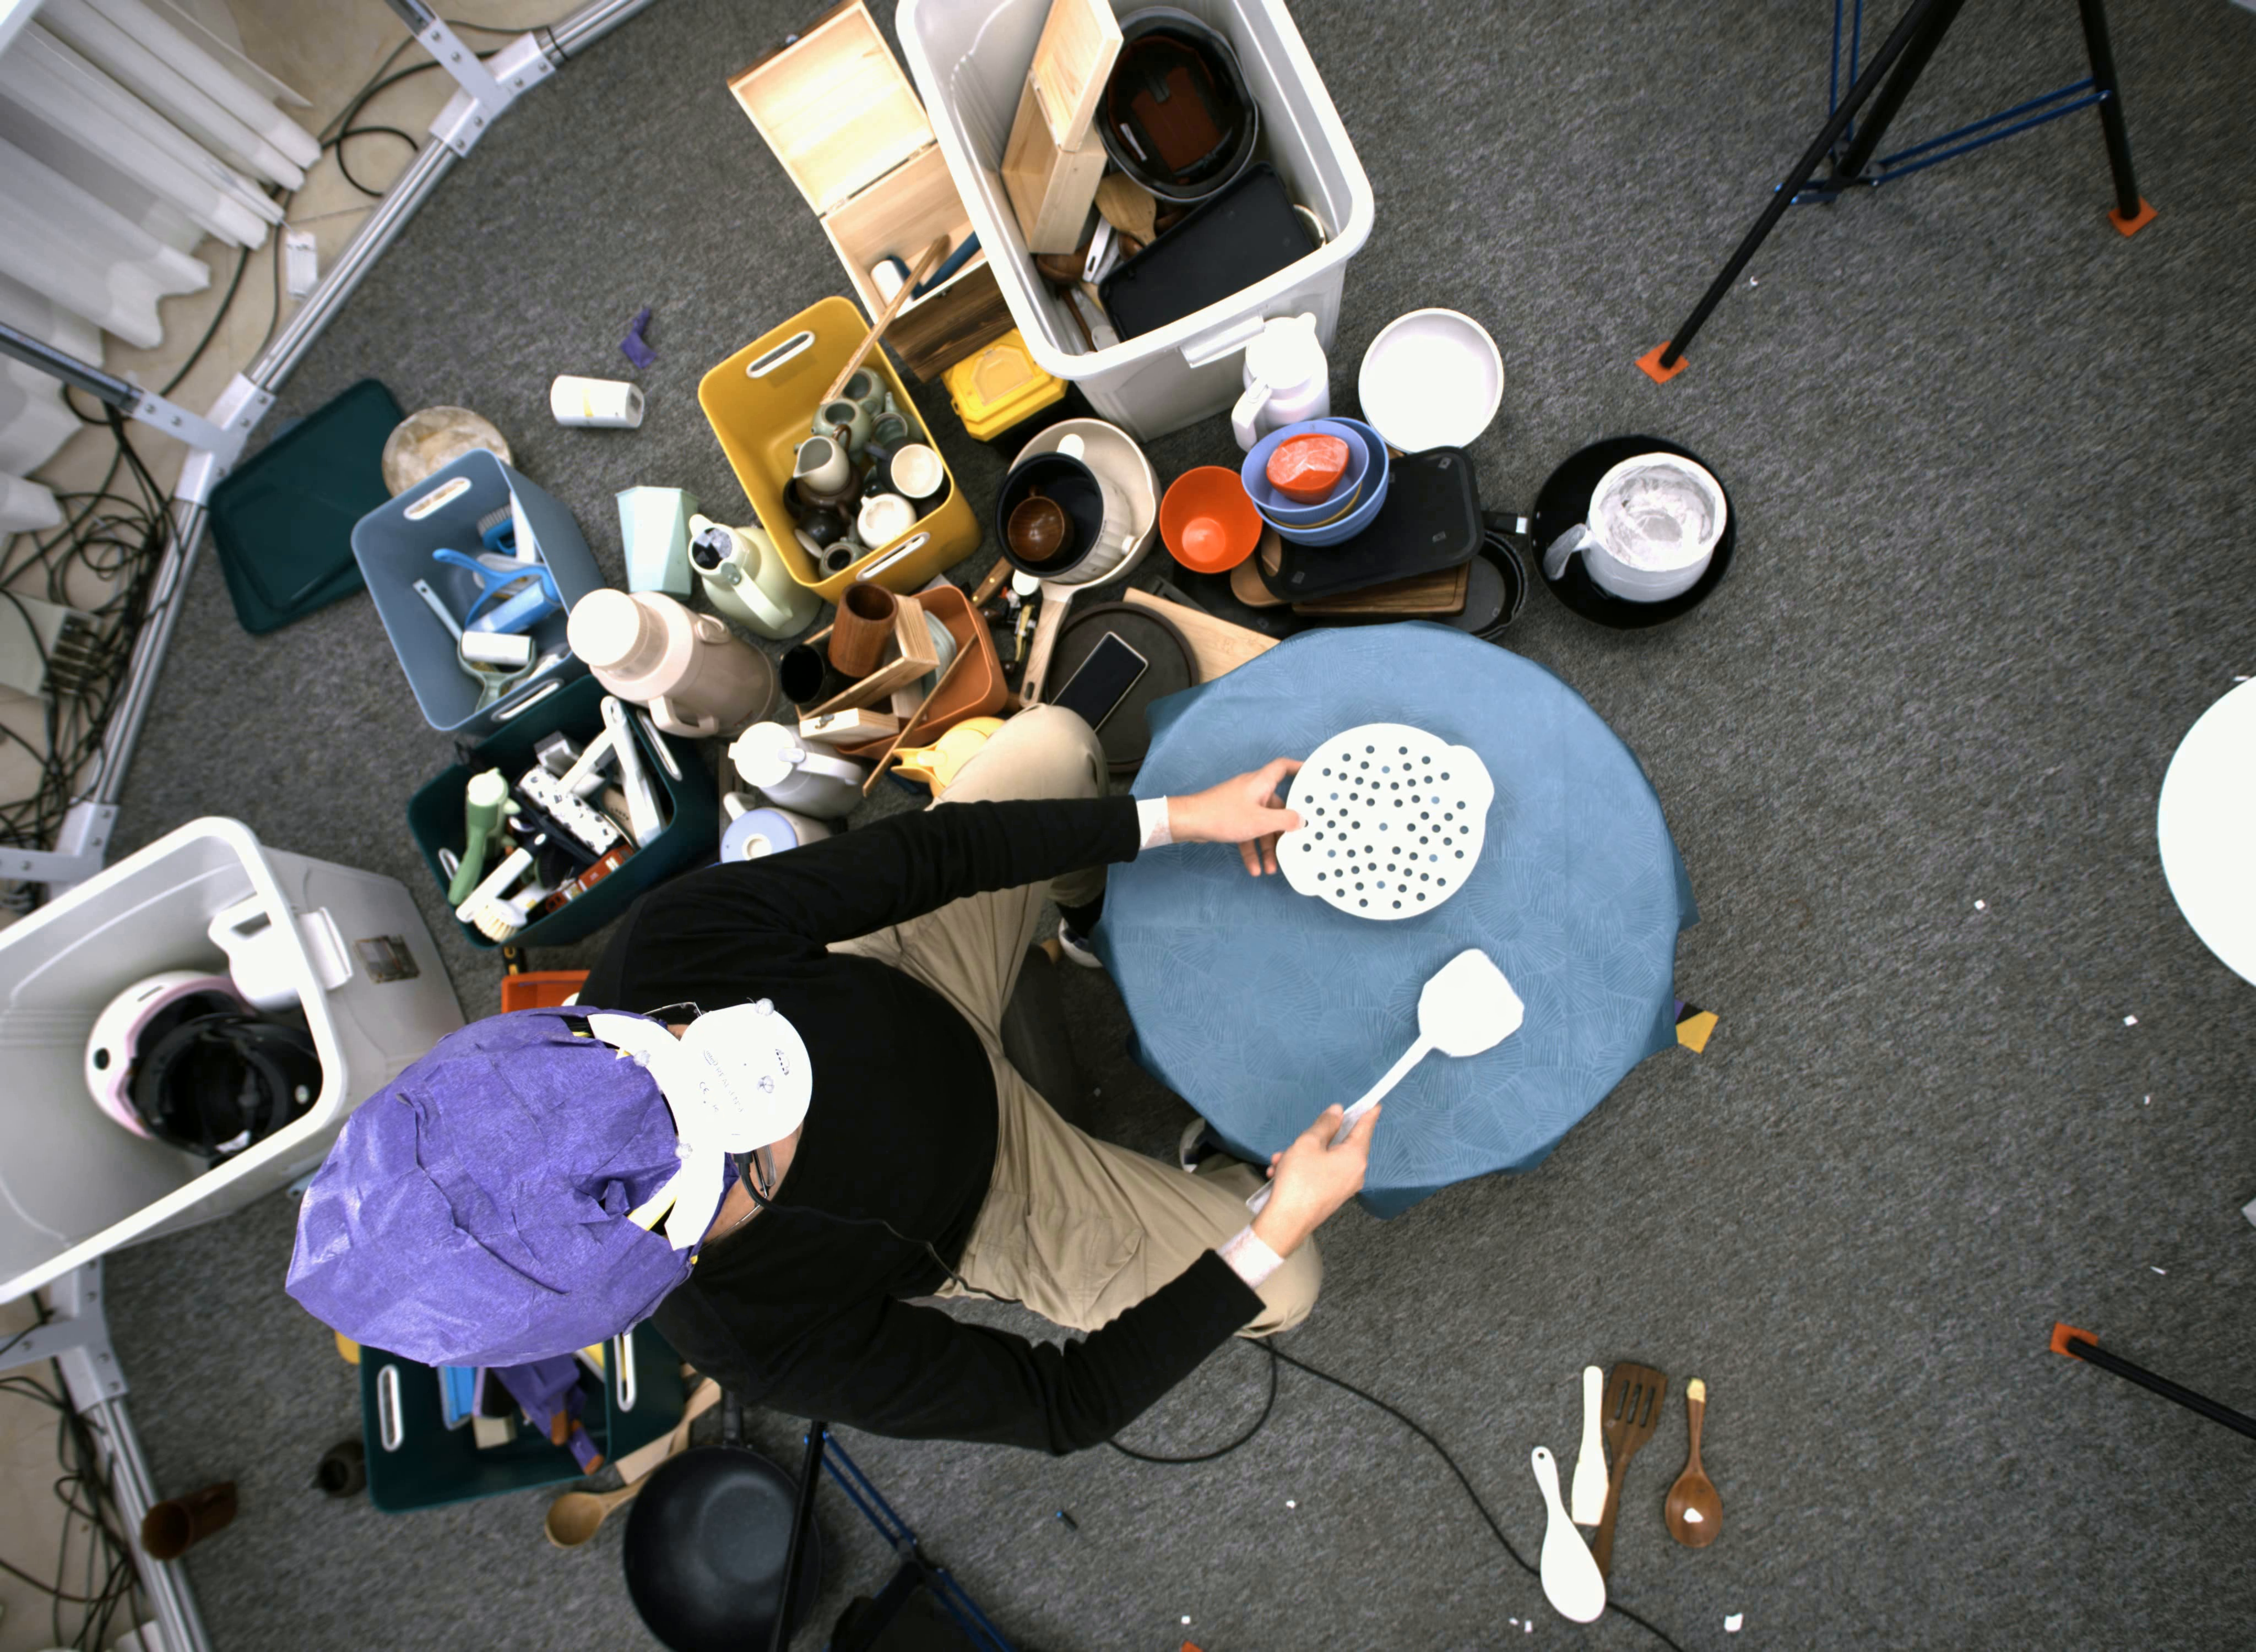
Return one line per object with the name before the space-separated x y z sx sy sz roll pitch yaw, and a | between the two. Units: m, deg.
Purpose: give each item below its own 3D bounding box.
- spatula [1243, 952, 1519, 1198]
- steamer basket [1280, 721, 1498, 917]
spatula | 0.251 0.254 1.362 0.358 0.045 0.099 -35 92 -28
steamer basket | 0.270 -0.006 1.429 0.232 0.069 0.200 -27 81 9
